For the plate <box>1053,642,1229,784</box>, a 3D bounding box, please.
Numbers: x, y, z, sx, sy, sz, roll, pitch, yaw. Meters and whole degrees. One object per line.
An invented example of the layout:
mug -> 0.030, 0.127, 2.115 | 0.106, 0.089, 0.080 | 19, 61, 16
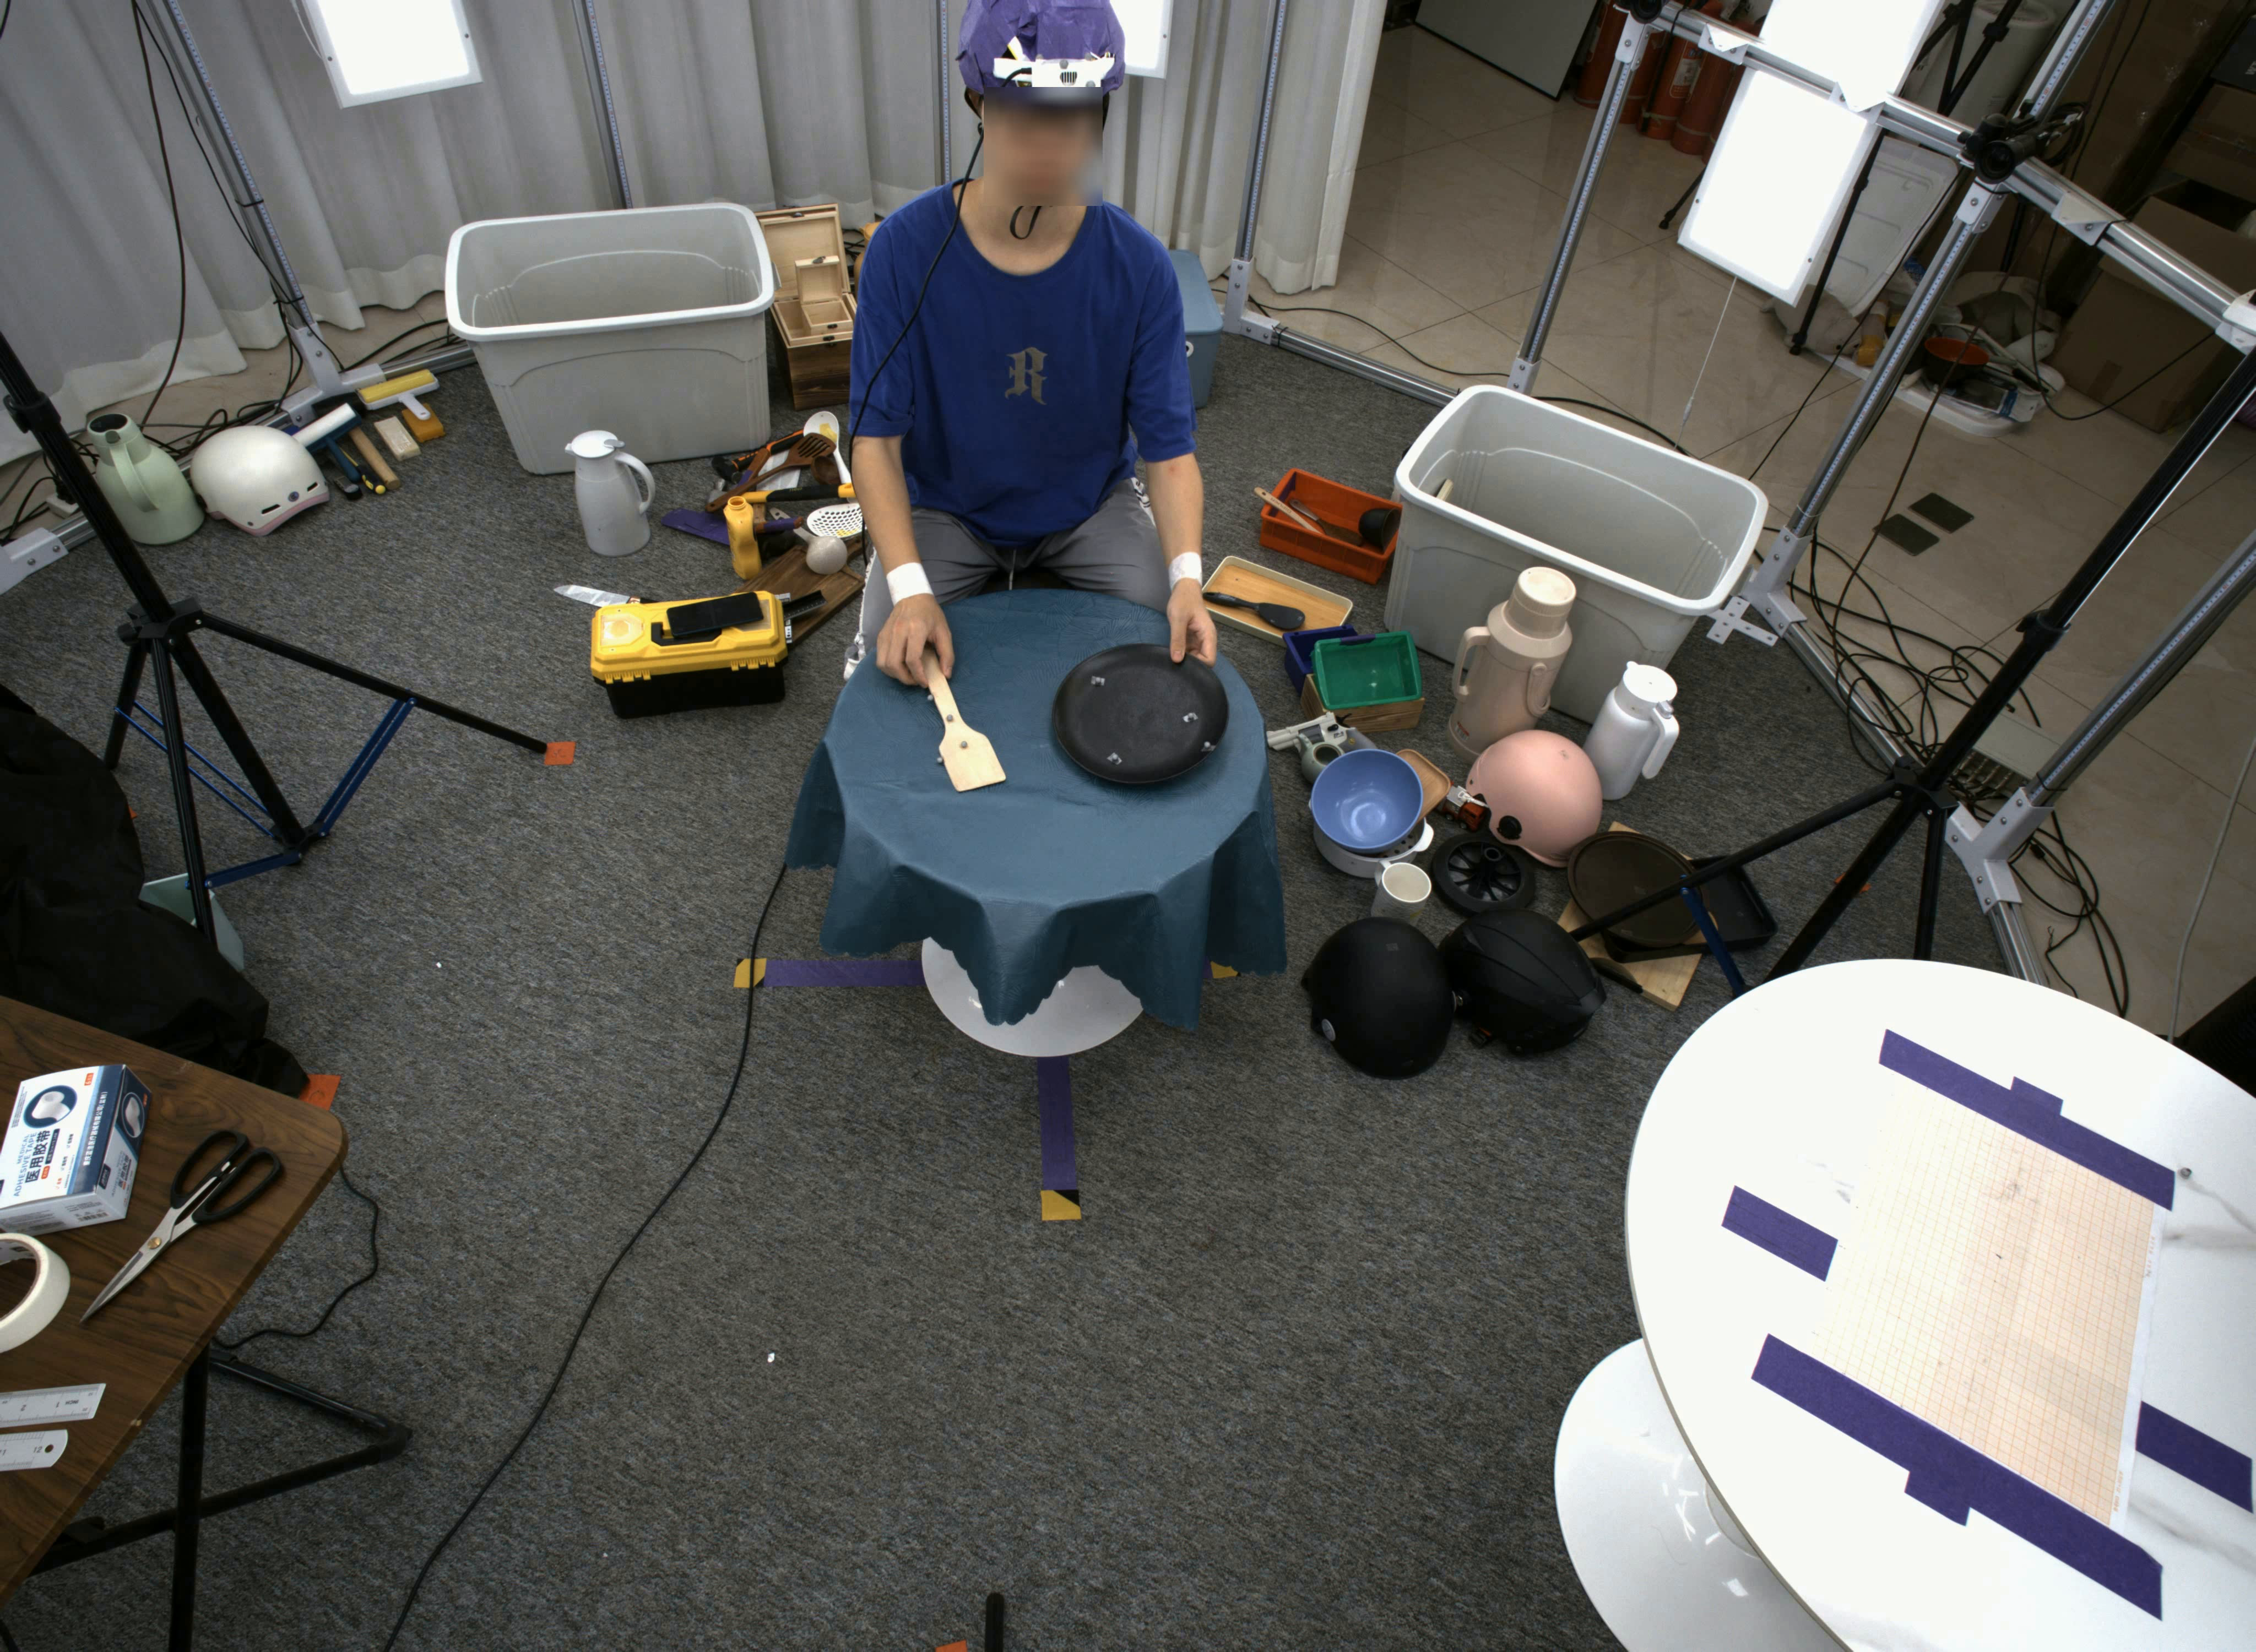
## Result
plate -> 0.018, -0.156, 1.775 | 0.244, 0.023, 0.250 | -2, 56, 3

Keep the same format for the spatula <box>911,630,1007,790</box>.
spatula -> -0.248, -0.167, 1.787 | 0.072, 0.010, 0.299 | -16, 57, -16
